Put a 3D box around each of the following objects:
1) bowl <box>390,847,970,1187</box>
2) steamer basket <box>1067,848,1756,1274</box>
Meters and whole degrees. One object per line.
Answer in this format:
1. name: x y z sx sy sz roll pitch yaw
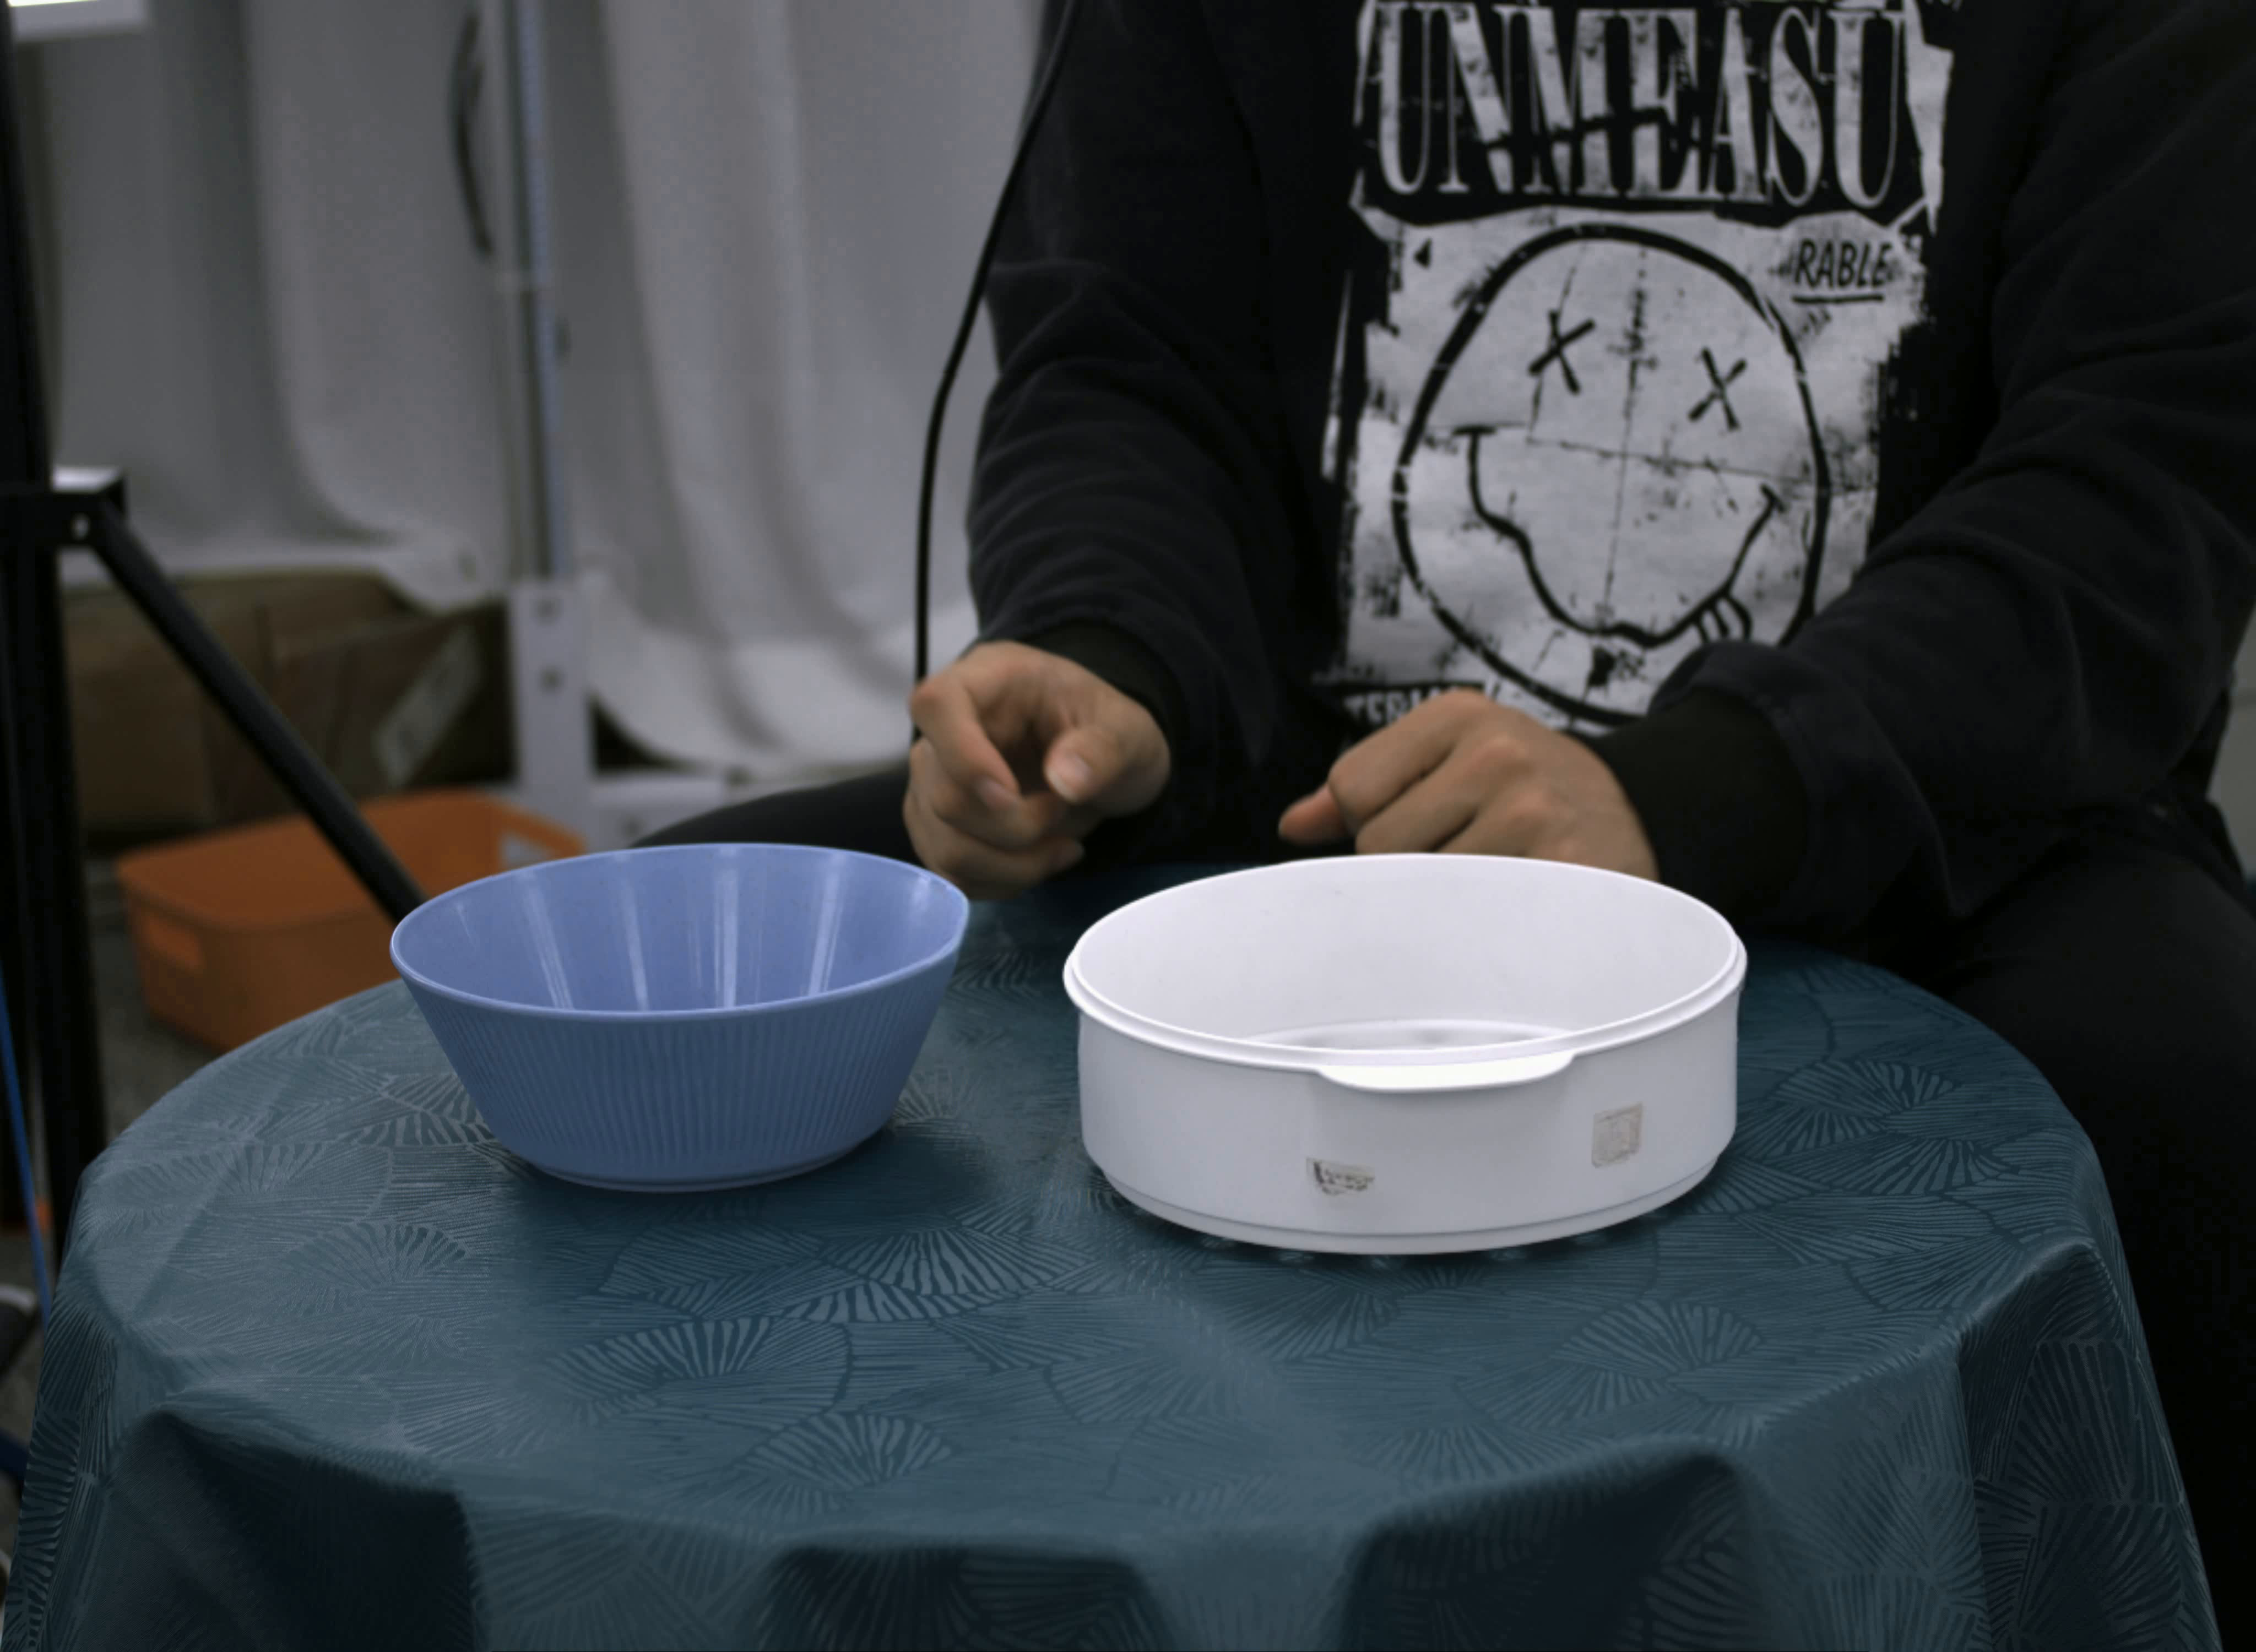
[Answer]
1. bowl: -0.135 0.060 1.620 0.175 0.070 0.177 -2 16 -1
2. steamer basket: 0.083 0.069 1.558 0.200 0.069 0.232 -3 18 -3
